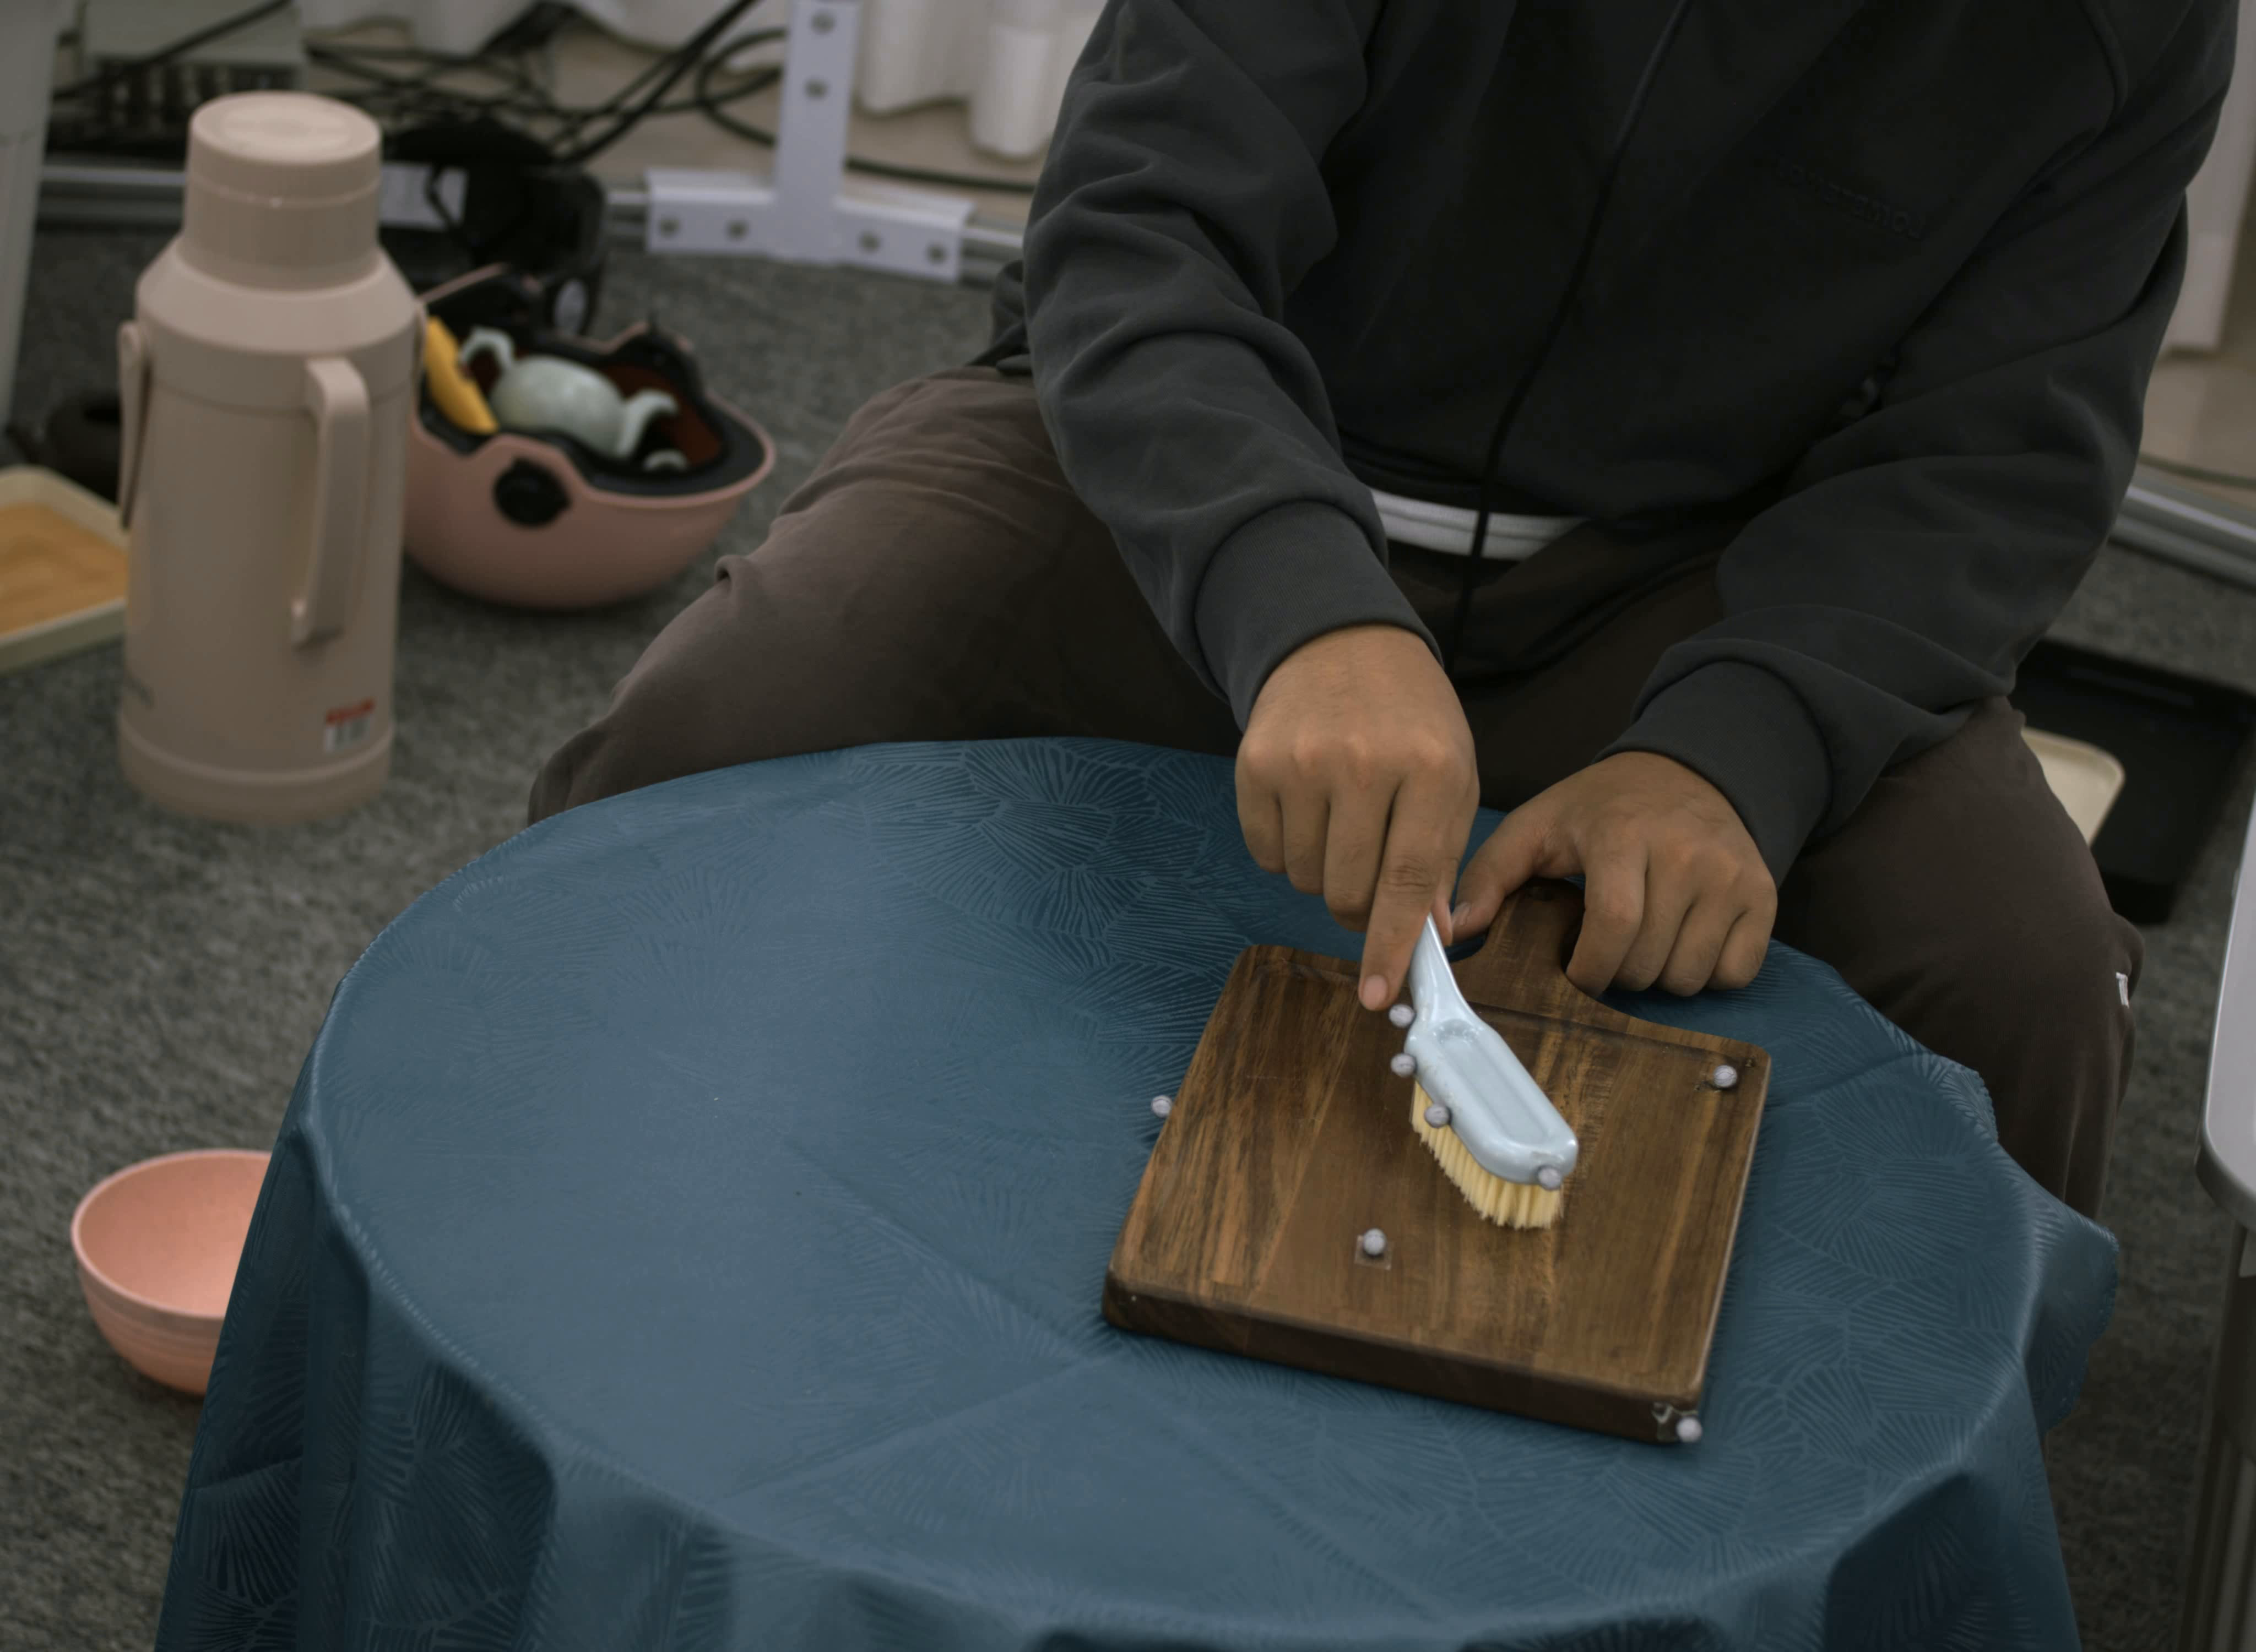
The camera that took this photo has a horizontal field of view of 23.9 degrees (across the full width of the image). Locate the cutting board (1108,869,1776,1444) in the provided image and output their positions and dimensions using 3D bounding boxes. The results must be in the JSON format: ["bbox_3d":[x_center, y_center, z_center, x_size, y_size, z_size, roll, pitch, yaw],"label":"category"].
[{"bbox_3d":[0.123,0.099,1.860,0.201,0.023,0.353,11,27,8],"label":"cutting board"}]

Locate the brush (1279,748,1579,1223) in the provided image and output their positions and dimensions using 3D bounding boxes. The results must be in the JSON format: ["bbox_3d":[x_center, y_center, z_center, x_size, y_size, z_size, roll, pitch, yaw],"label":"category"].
[{"bbox_3d":[0.098,0.051,1.855,0.037,0.049,0.231,-6,44,-22],"label":"brush"}]
